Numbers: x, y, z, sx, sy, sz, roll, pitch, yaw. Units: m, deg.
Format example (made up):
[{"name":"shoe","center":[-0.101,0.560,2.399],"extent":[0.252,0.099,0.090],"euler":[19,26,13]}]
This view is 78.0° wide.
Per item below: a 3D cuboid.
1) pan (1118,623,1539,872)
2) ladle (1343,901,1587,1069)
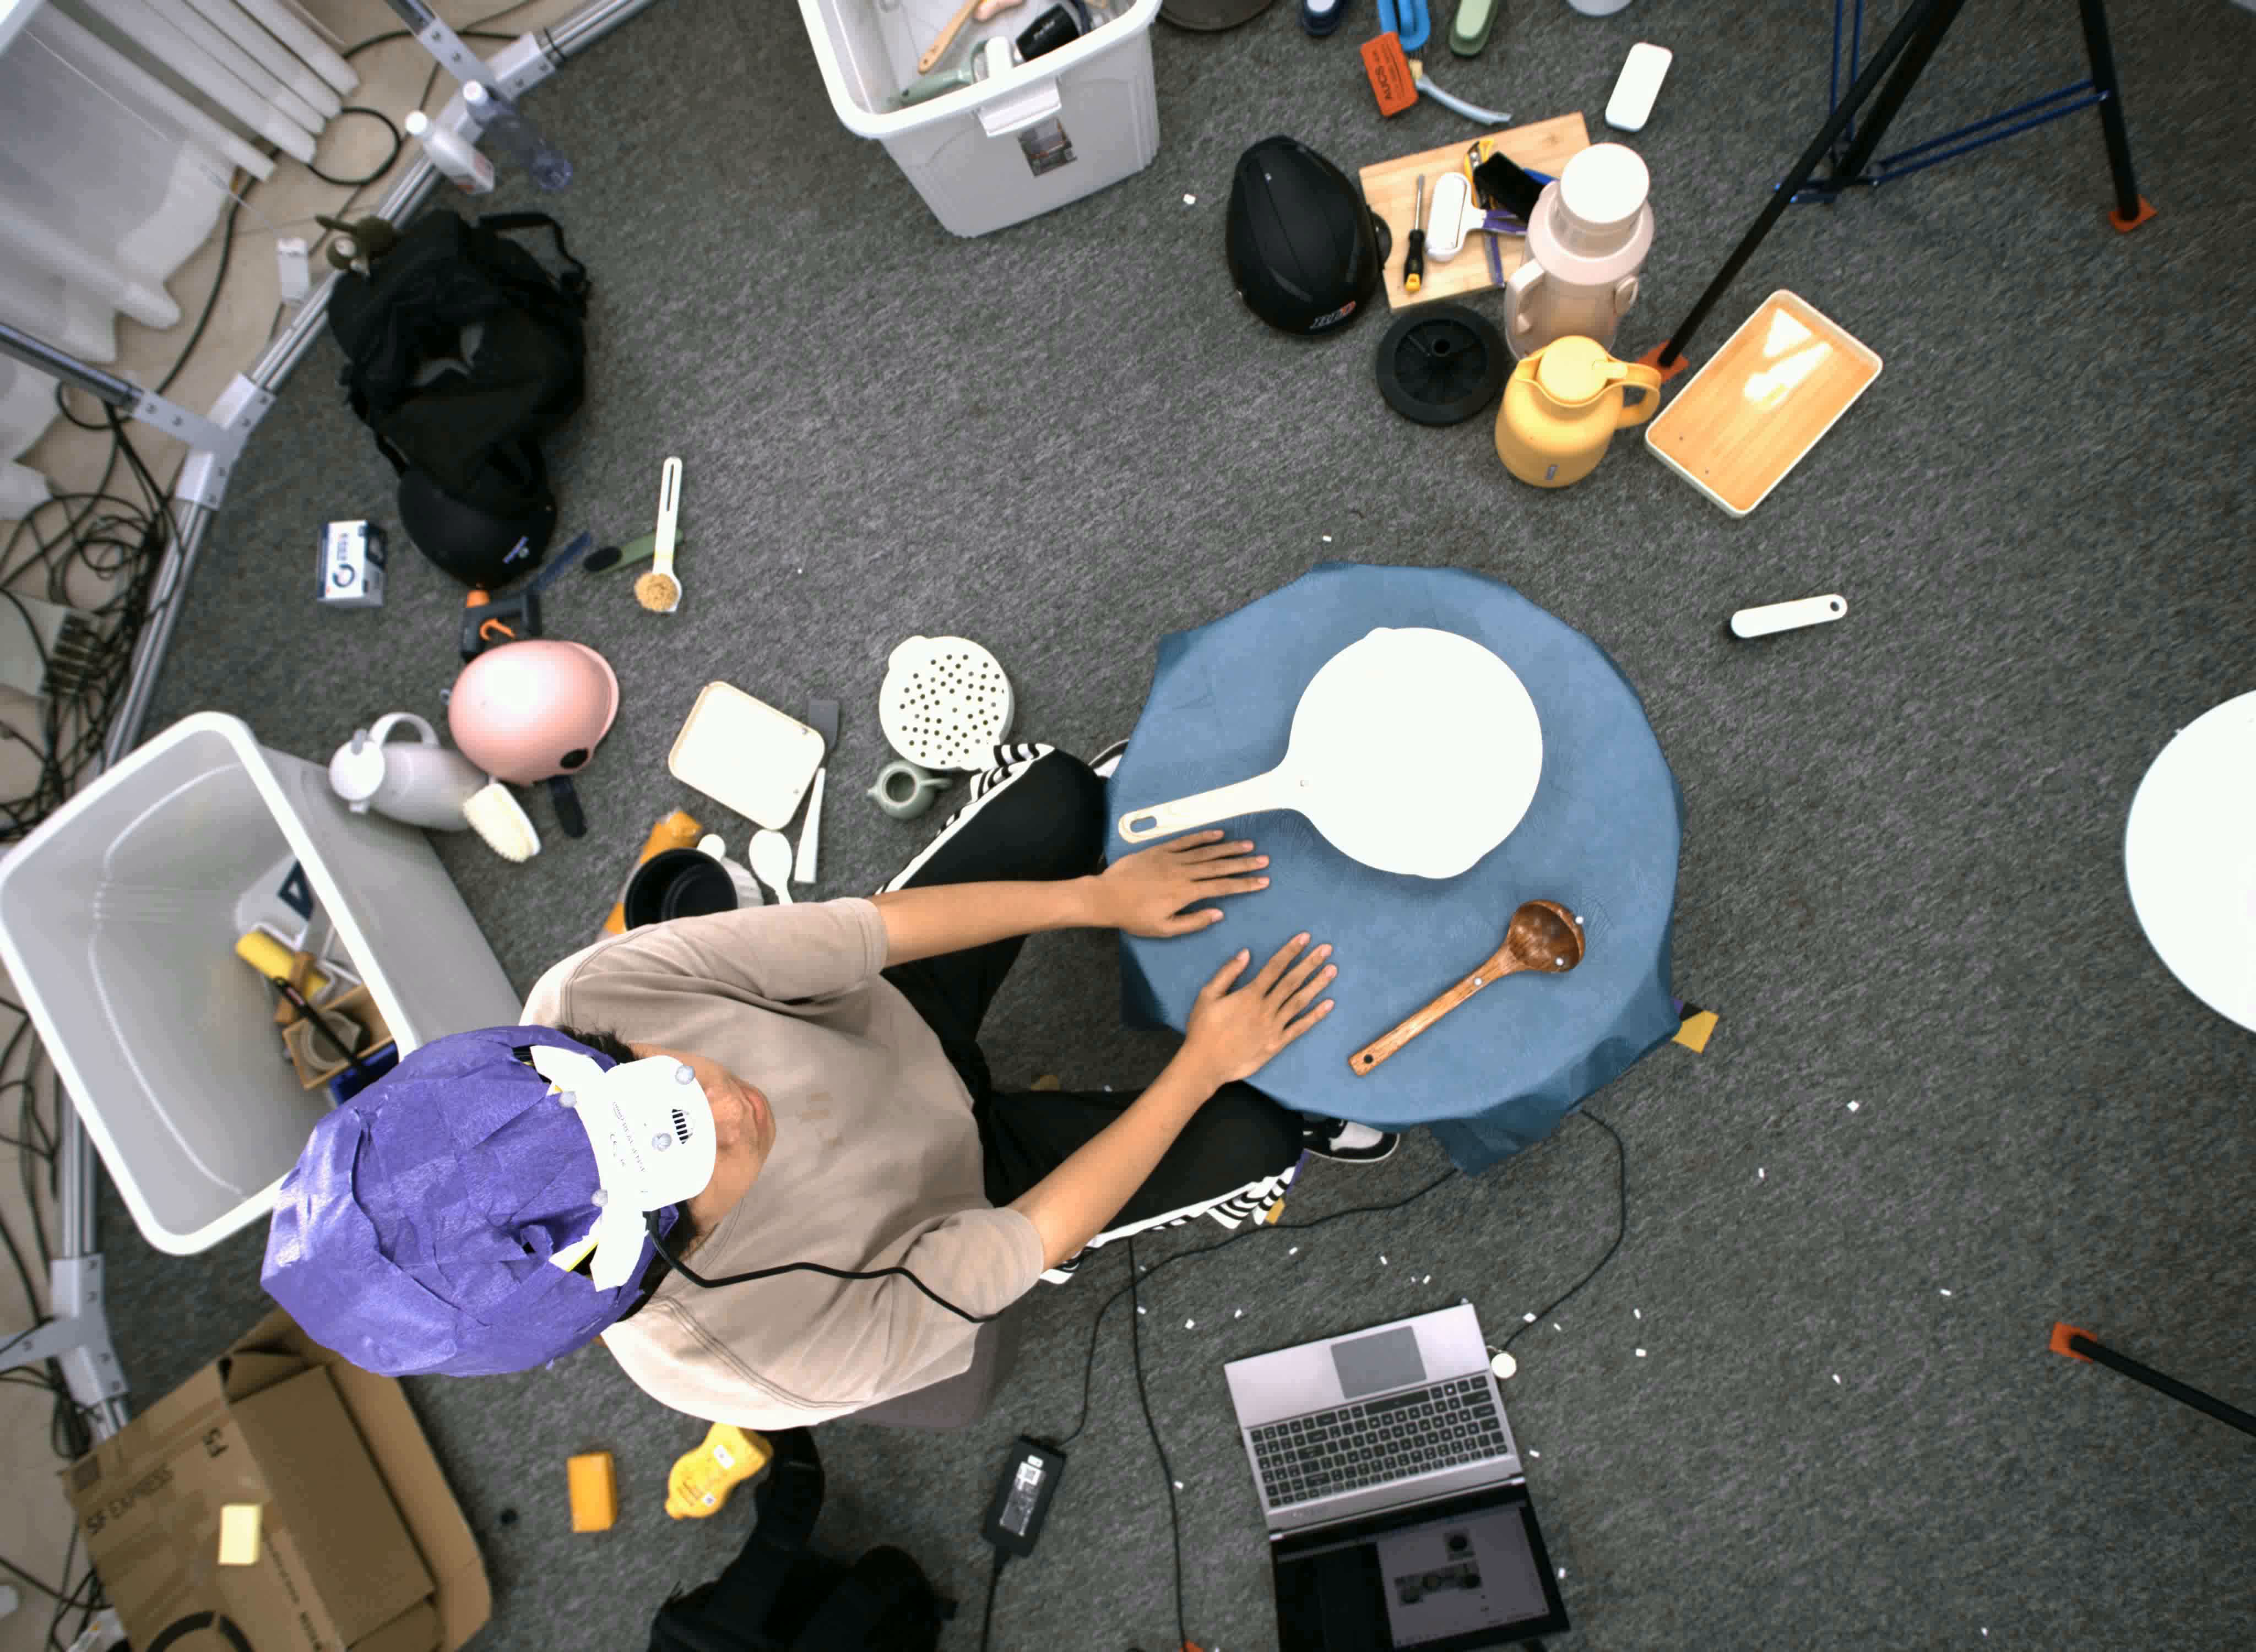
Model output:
[{"name":"pan","center":[0.204,-0.053,1.431],"extent":[0.437,0.102,0.262],"euler":[-17,85,9]},{"name":"ladle","center":[0.340,0.170,1.402],"extent":[0.275,0.076,0.081],"euler":[-34,81,6]}]
